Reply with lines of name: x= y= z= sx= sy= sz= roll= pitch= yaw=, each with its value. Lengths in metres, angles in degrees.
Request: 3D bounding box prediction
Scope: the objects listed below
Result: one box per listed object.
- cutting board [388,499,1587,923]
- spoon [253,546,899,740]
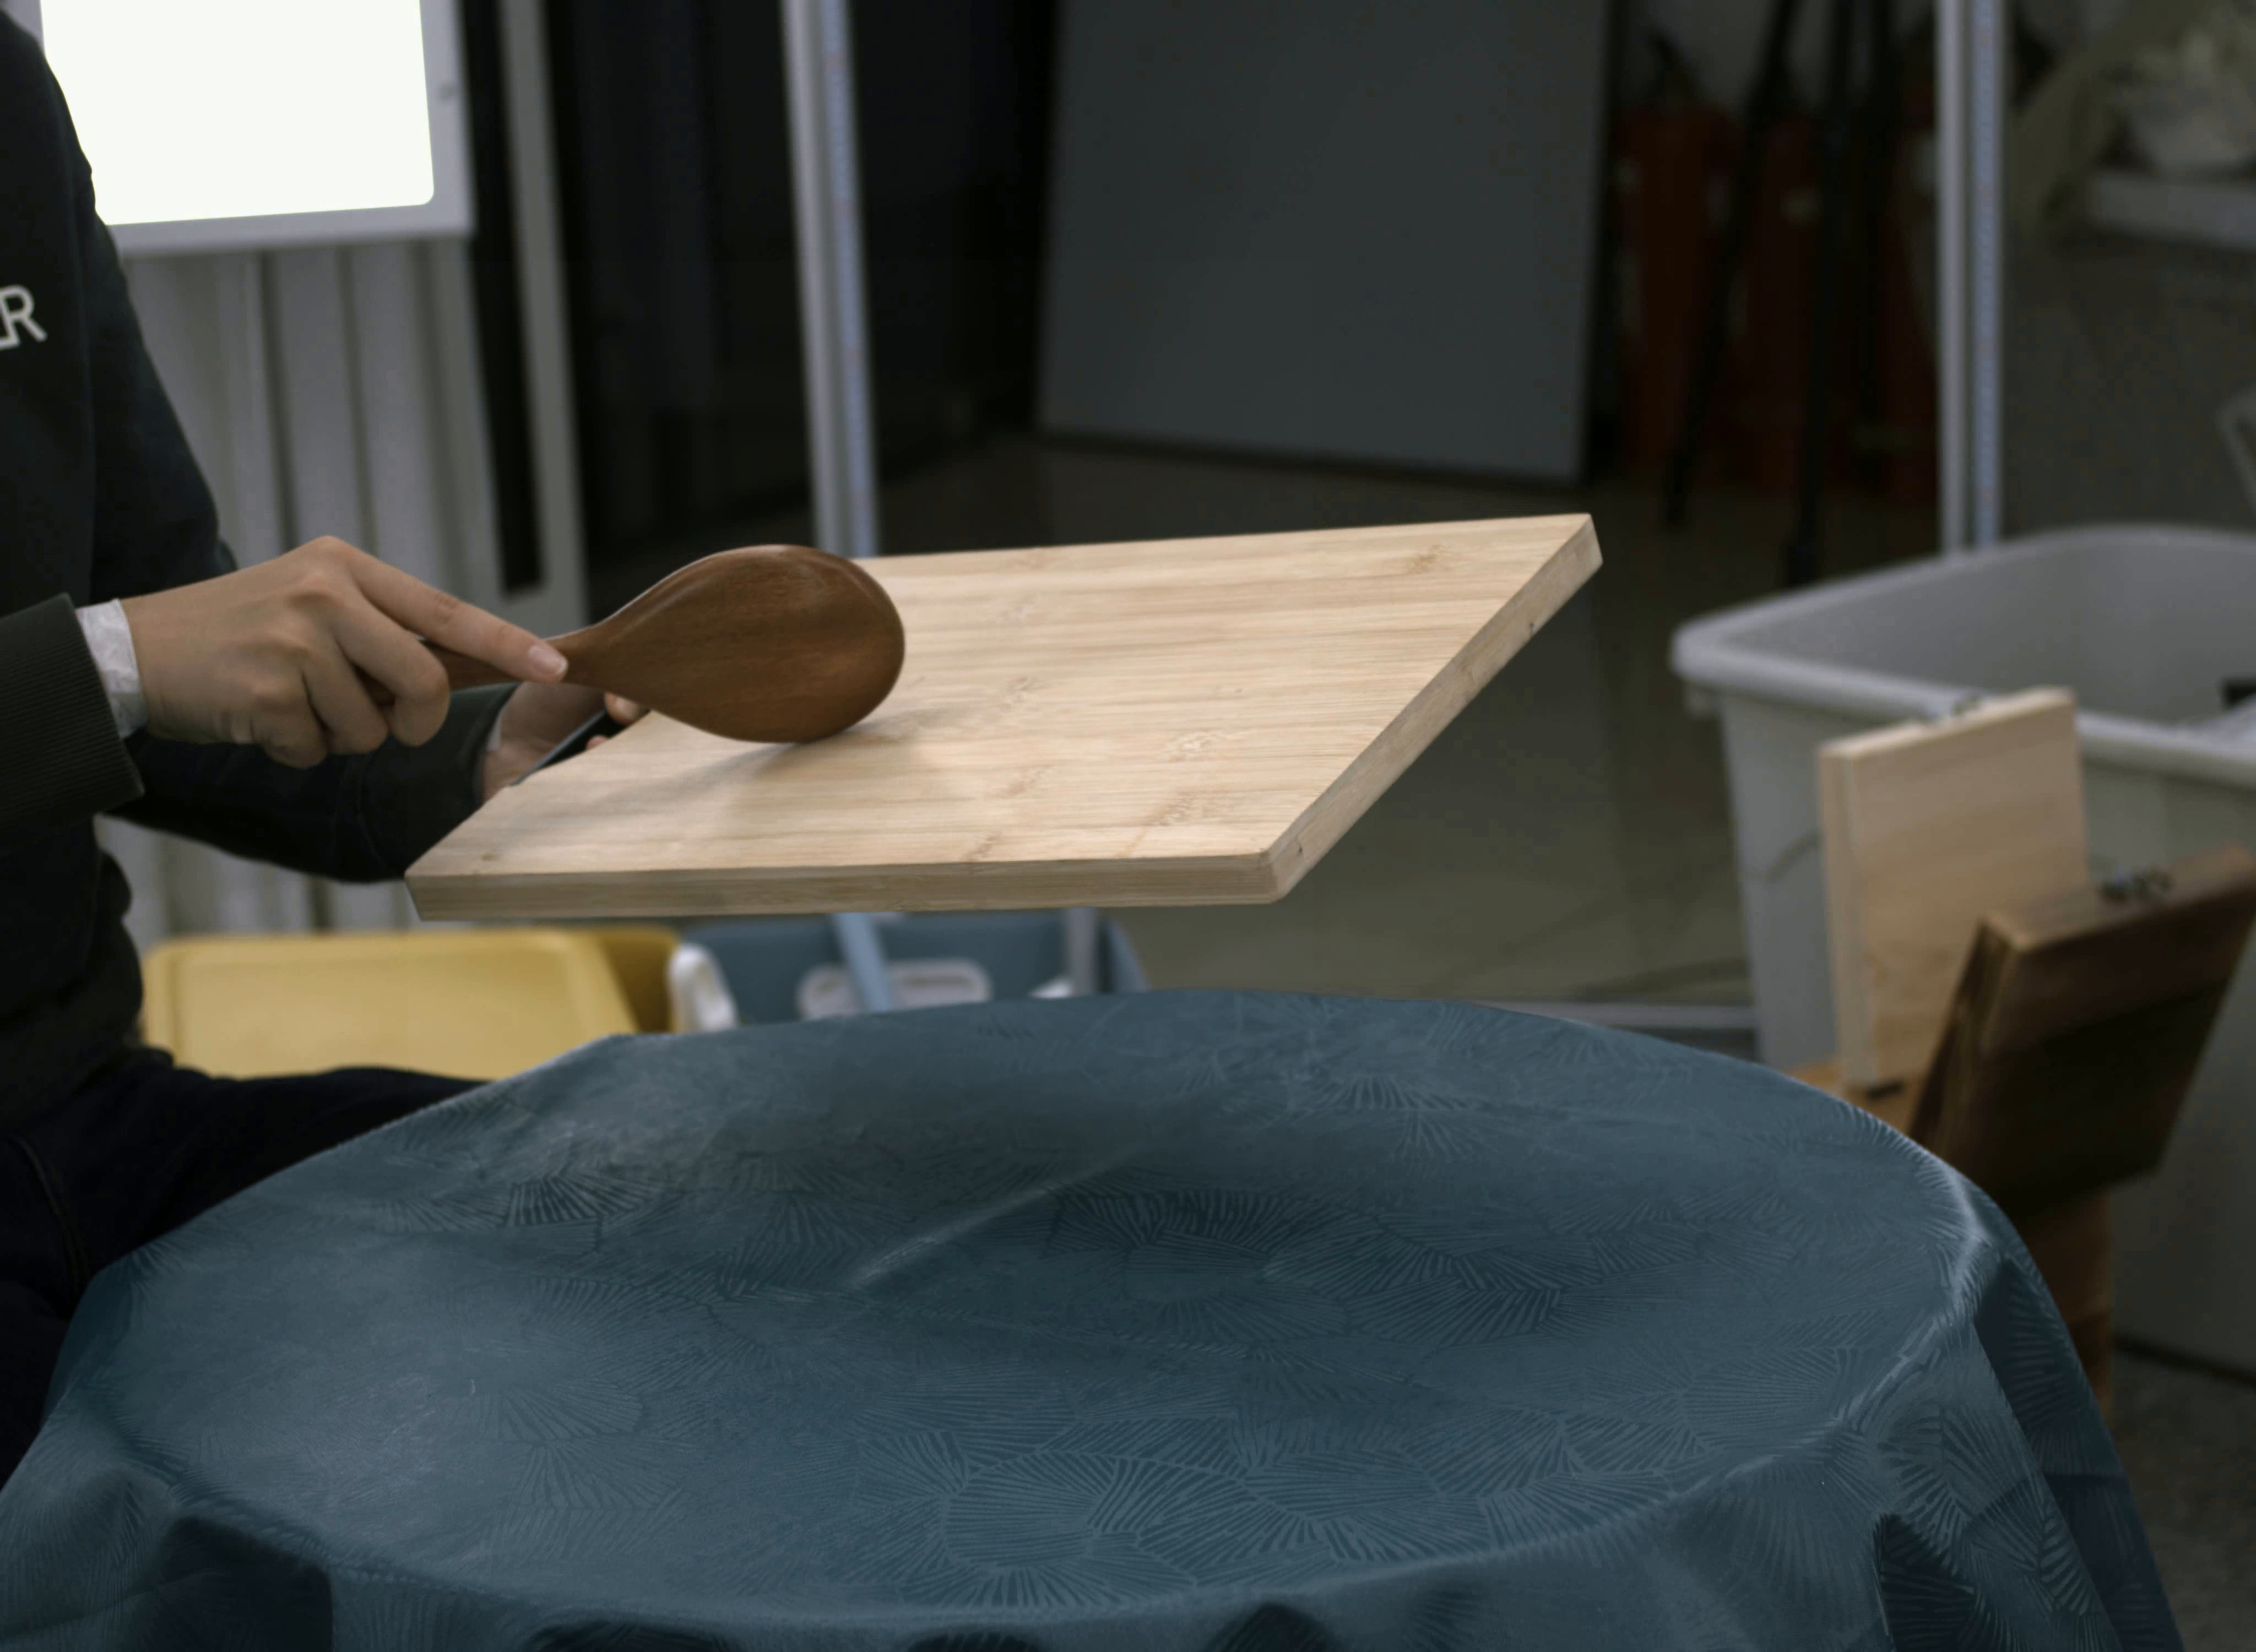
cutting board: x=-0.046 y=-0.036 z=1.783 sx=0.350 sy=0.024 sz=0.248 roll=-3 pitch=26 yaw=34
spoon: x=-0.181 y=-0.054 z=1.776 sx=0.214 sy=0.076 sz=0.017 roll=-3 pitch=35 yaw=6
